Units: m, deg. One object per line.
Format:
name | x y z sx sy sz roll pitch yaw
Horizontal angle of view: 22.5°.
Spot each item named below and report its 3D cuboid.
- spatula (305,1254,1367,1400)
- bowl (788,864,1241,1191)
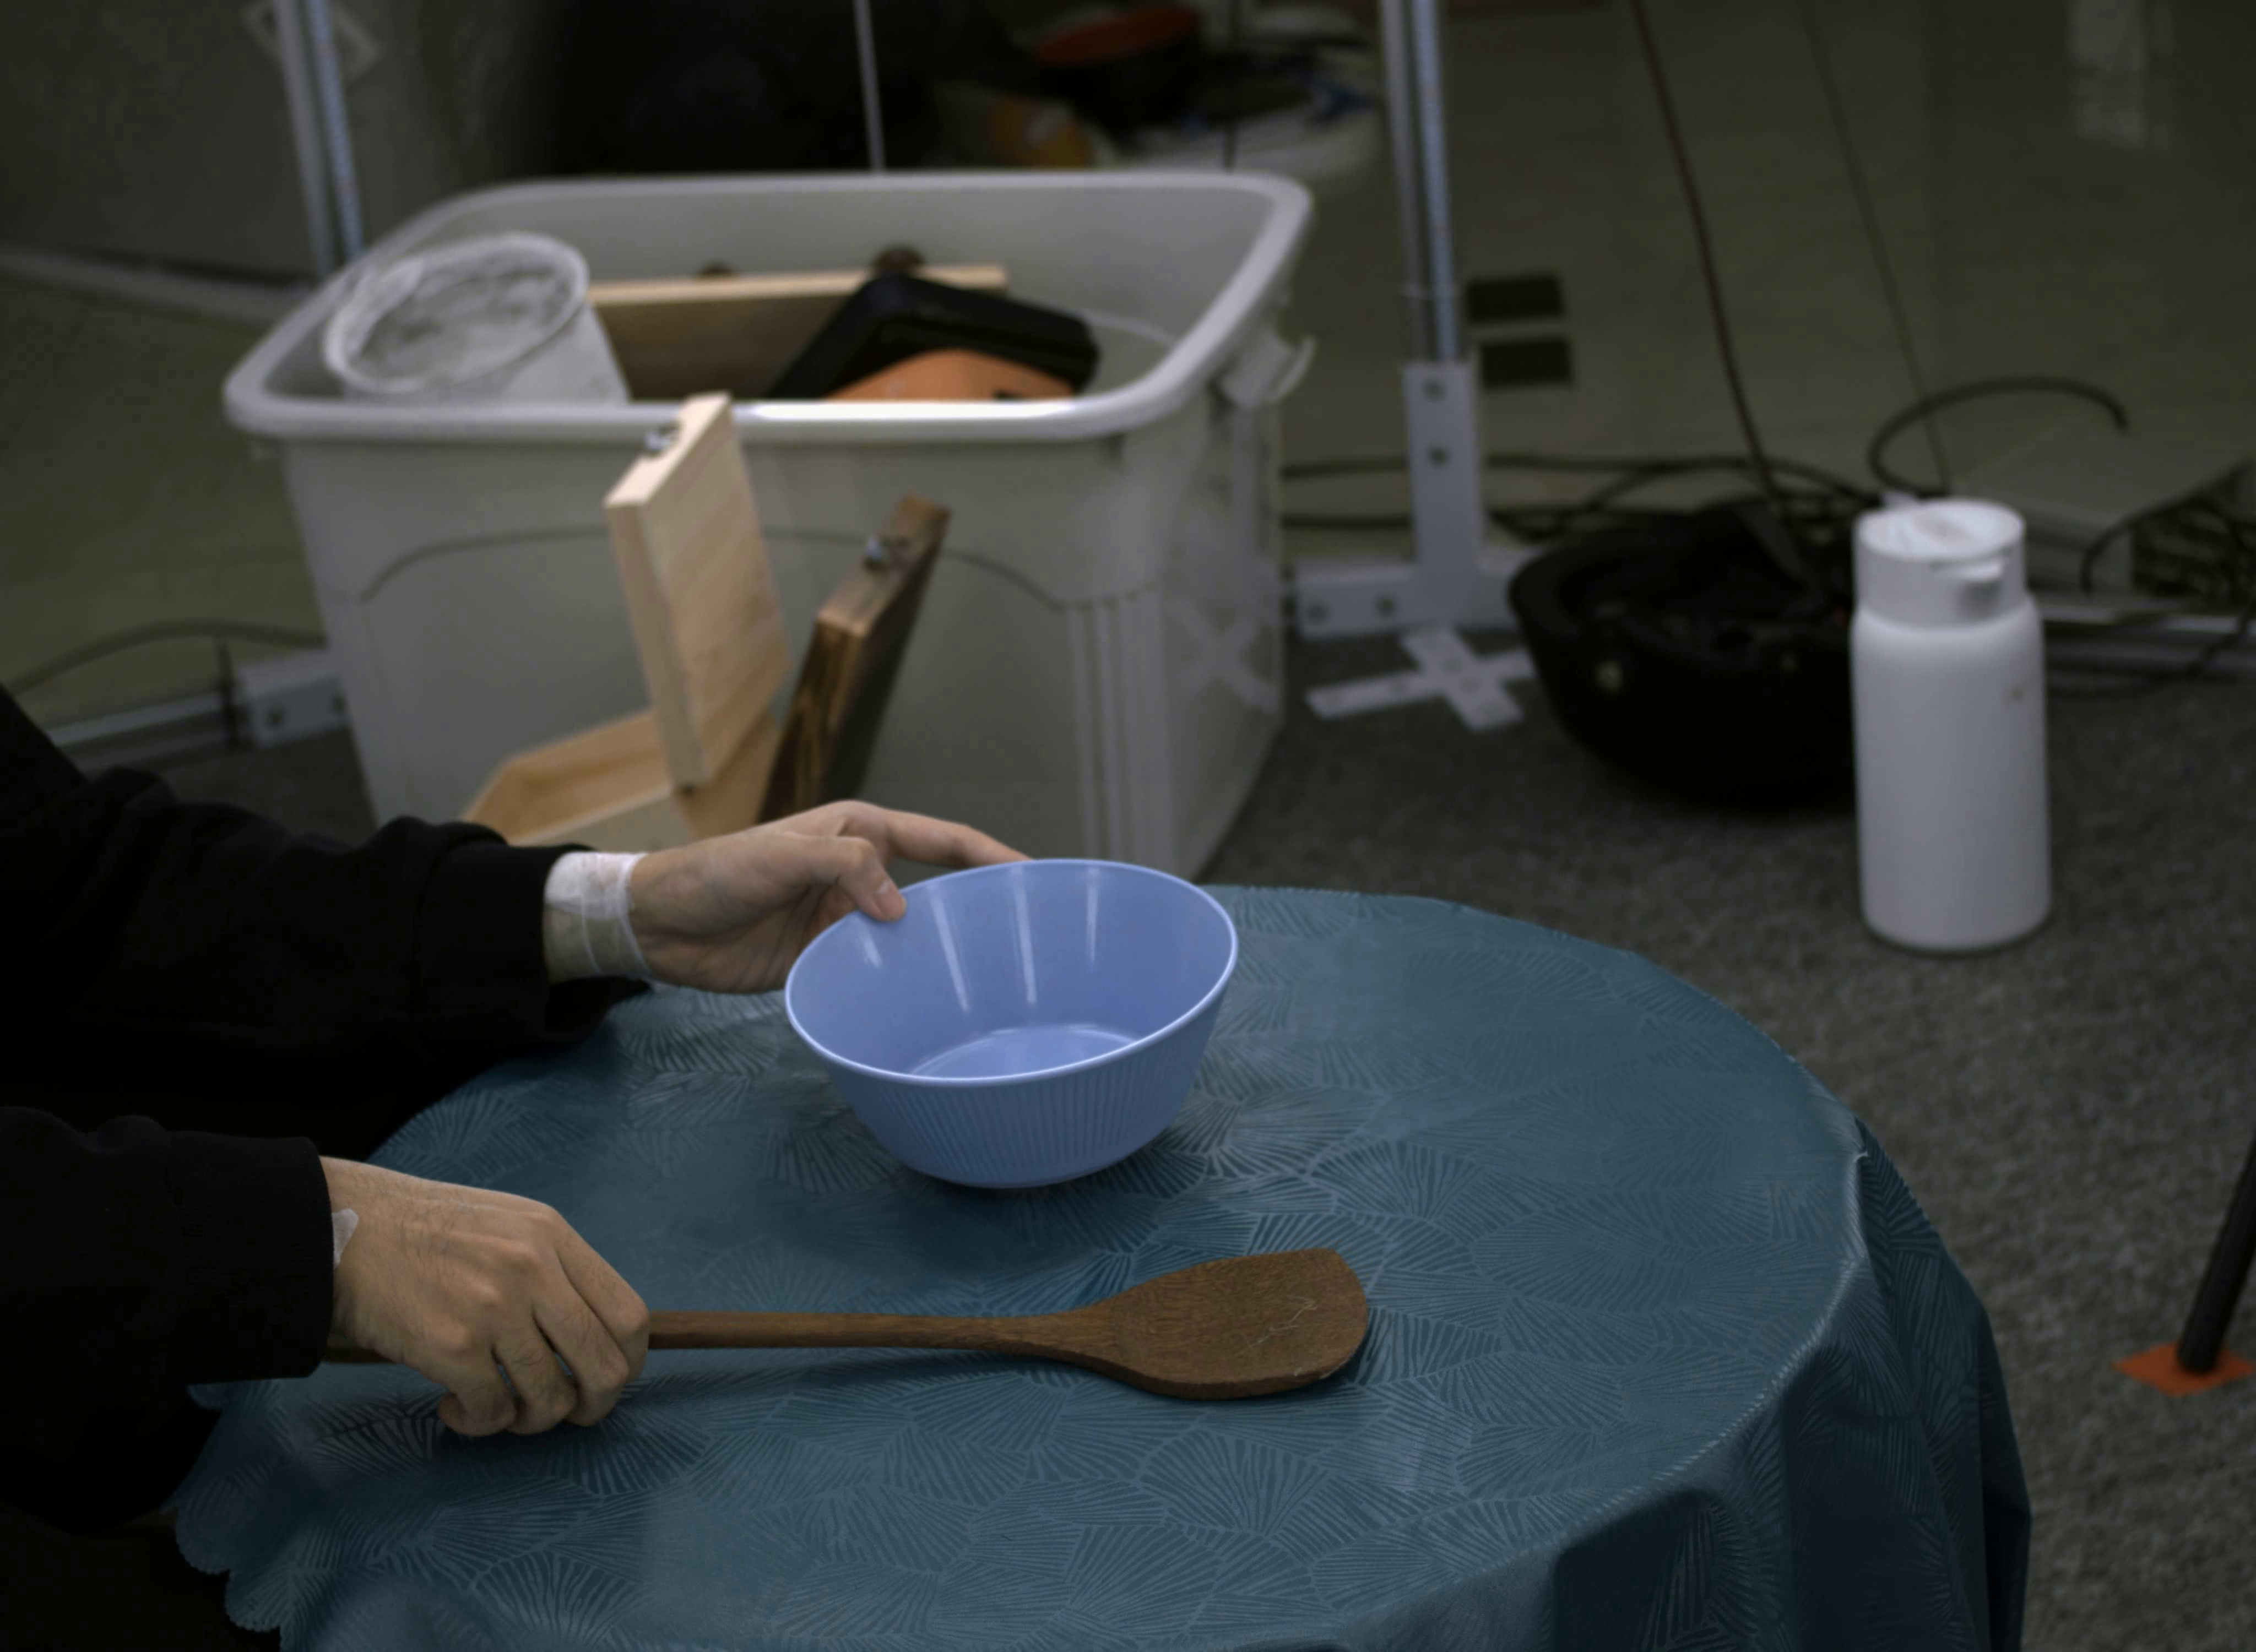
spatula | -0.106 0.184 2.048 0.385 0.016 0.095 -1 24 2
bowl | -0.039 0.084 2.179 0.176 0.071 0.173 -7 27 4
